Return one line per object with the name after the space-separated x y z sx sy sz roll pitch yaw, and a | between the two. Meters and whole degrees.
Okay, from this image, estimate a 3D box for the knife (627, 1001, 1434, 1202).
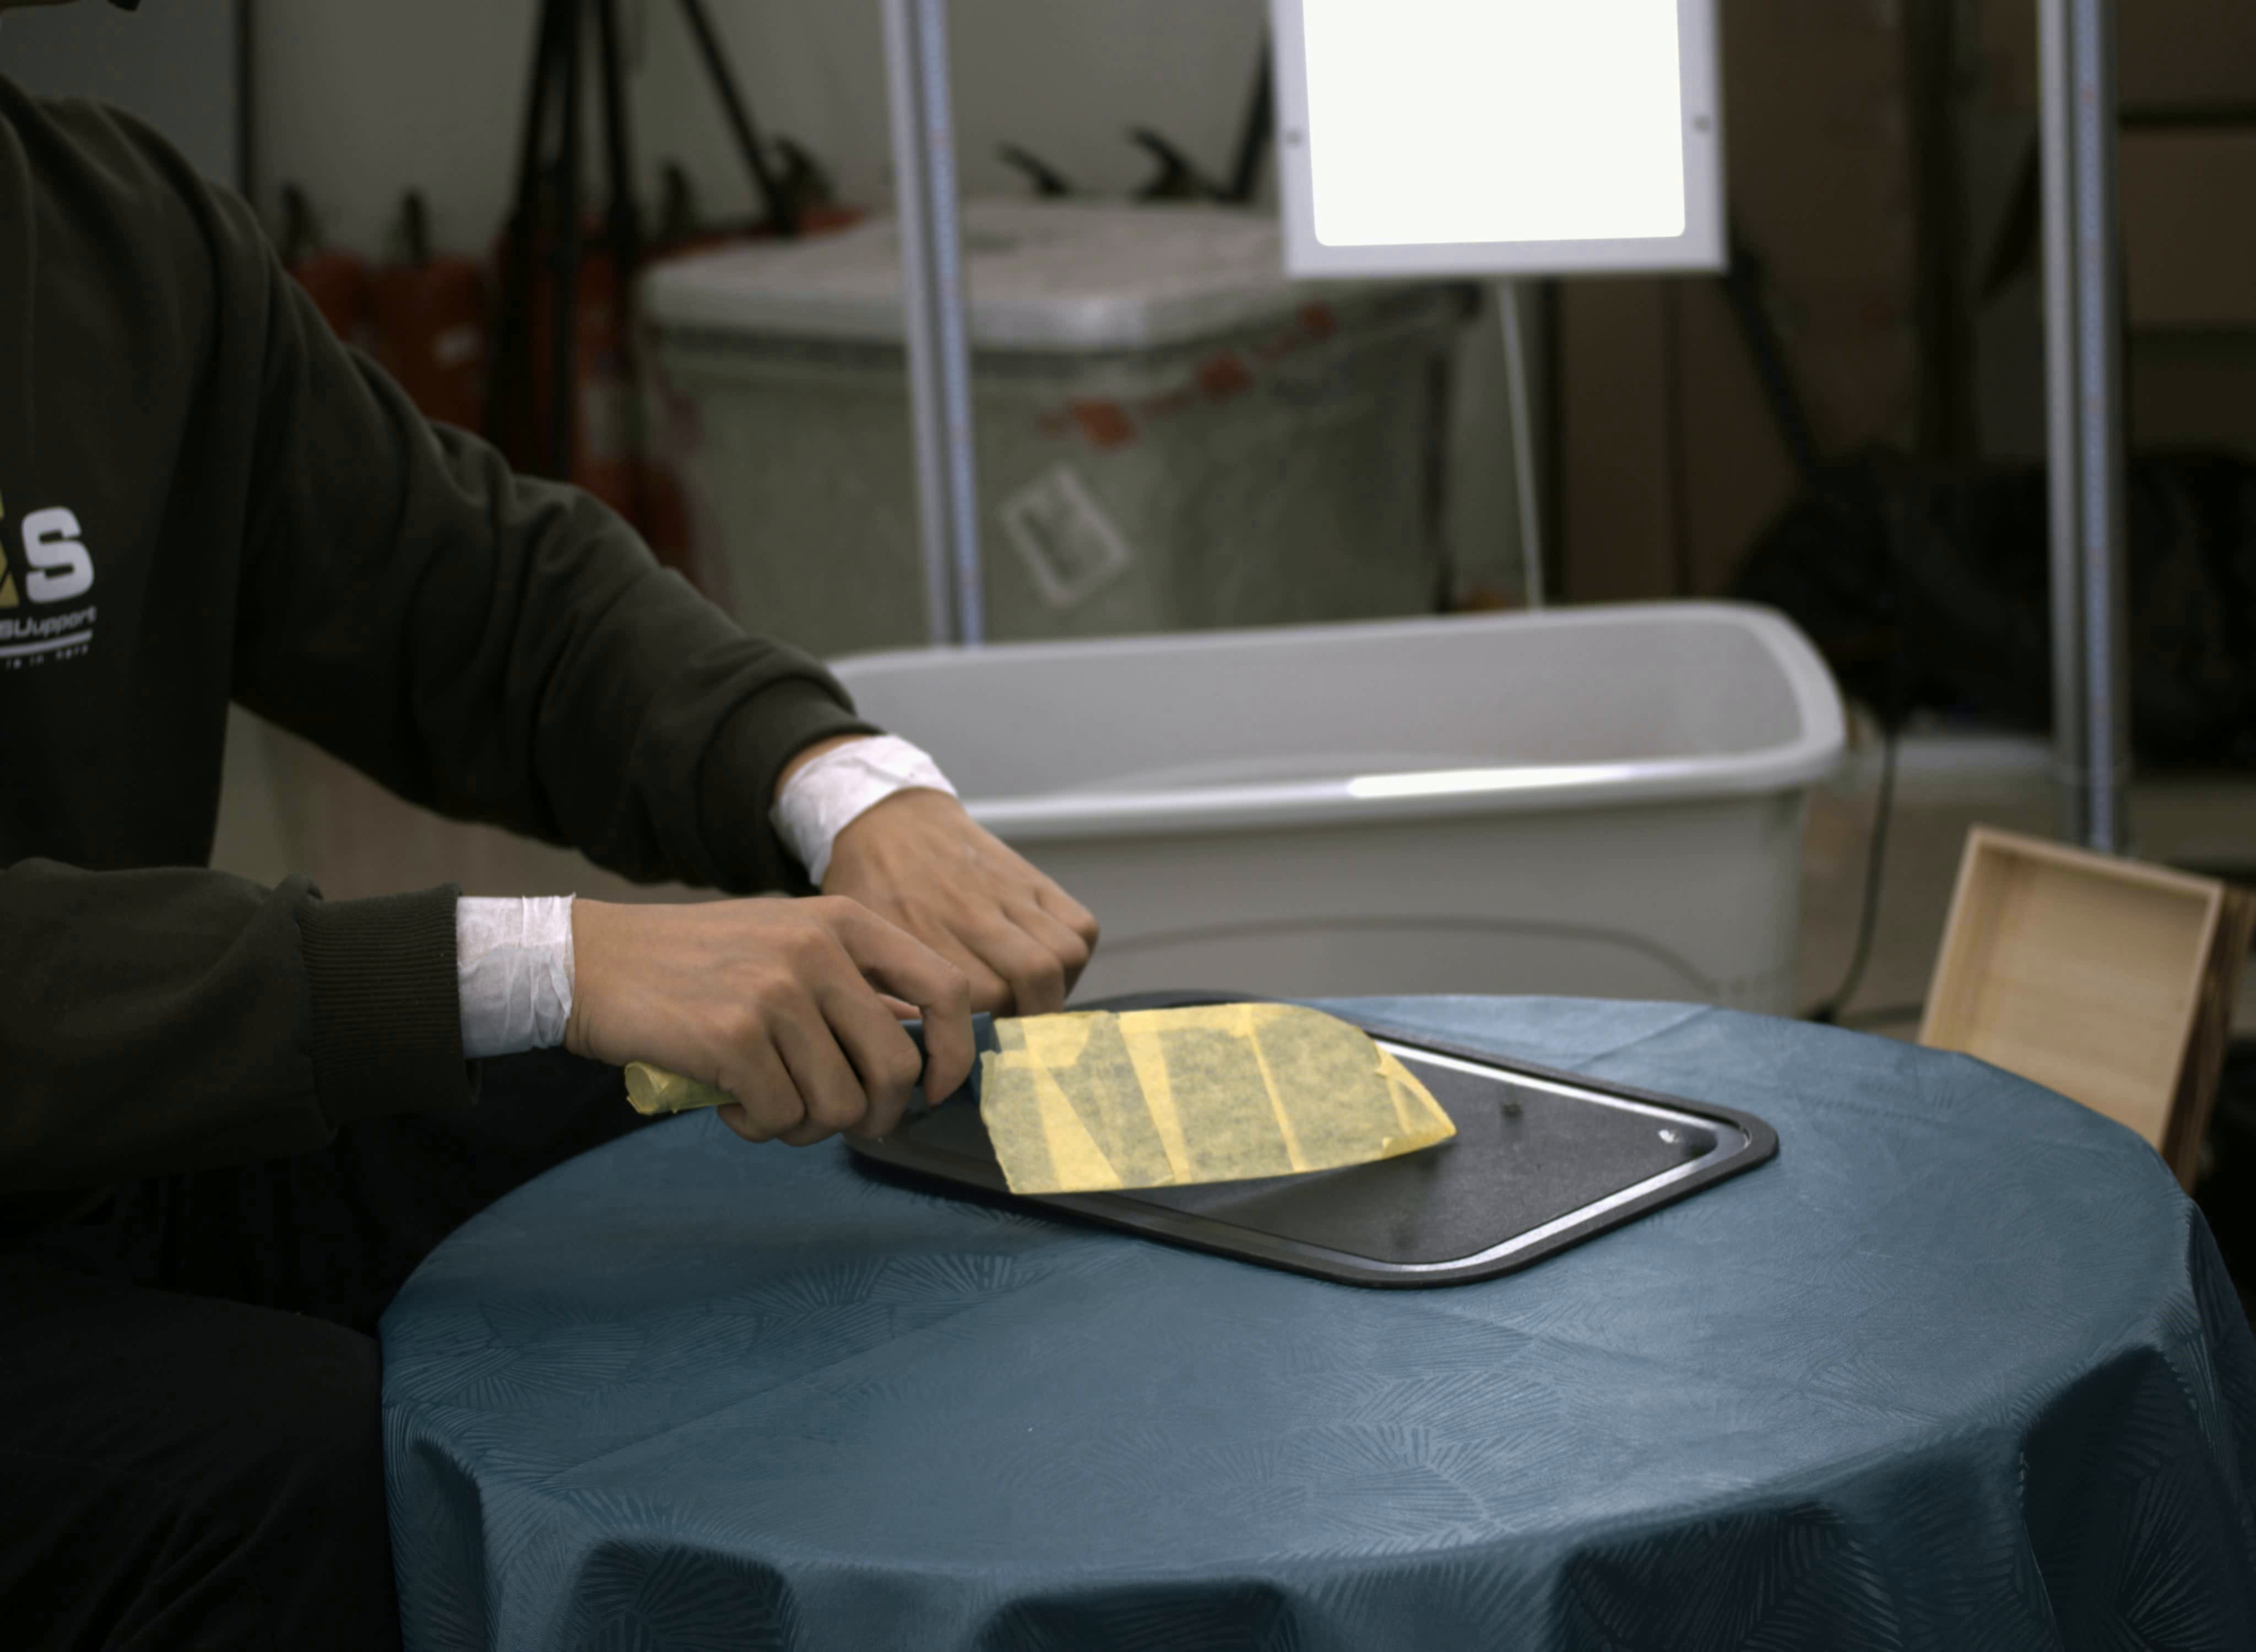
-0.028 0.095 1.877 0.284 0.027 0.081 -2 50 -18 | knife

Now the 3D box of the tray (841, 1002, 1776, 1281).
0.054 0.105 1.937 0.206 0.010 0.332 -18 21 -42 | tray
